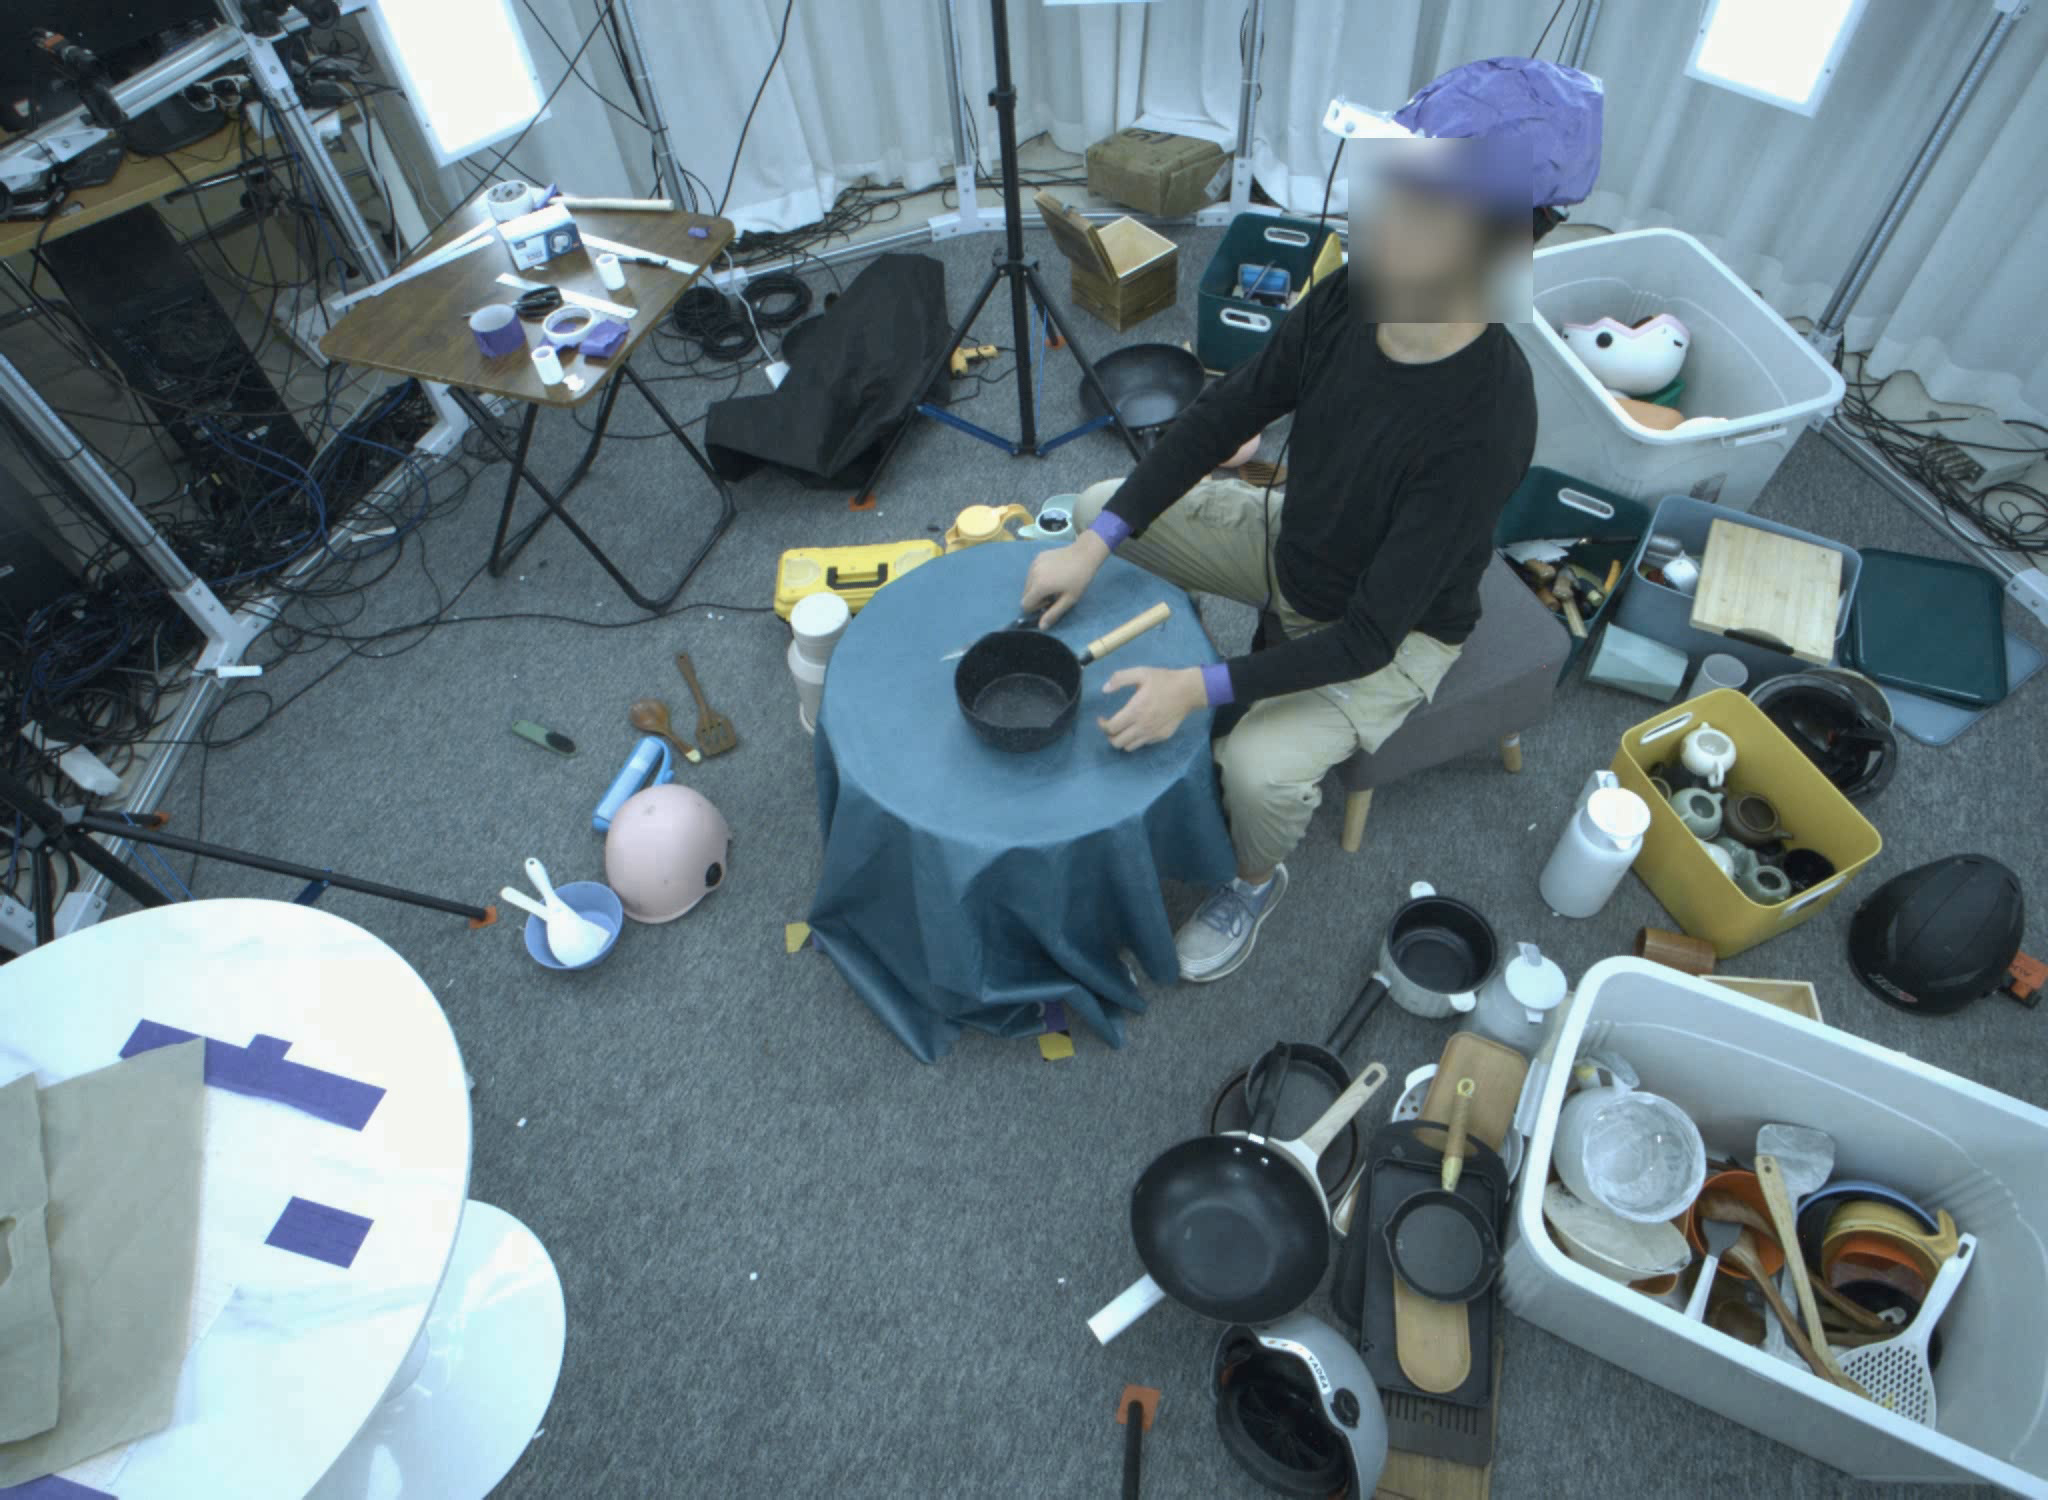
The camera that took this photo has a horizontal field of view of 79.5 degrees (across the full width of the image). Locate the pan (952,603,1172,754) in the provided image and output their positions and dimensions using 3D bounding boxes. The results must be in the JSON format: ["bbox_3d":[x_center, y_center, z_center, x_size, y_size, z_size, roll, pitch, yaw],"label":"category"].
[{"bbox_3d":[0.062,-0.118,1.800,0.345,0.109,0.203,-25,57,-14],"label":"pan"}]

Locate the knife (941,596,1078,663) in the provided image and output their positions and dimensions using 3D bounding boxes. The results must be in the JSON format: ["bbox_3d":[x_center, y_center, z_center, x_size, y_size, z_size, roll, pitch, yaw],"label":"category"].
[{"bbox_3d":[-0.025,-0.187,1.911,0.240,0.016,0.024,-26,60,-13],"label":"knife"}]
